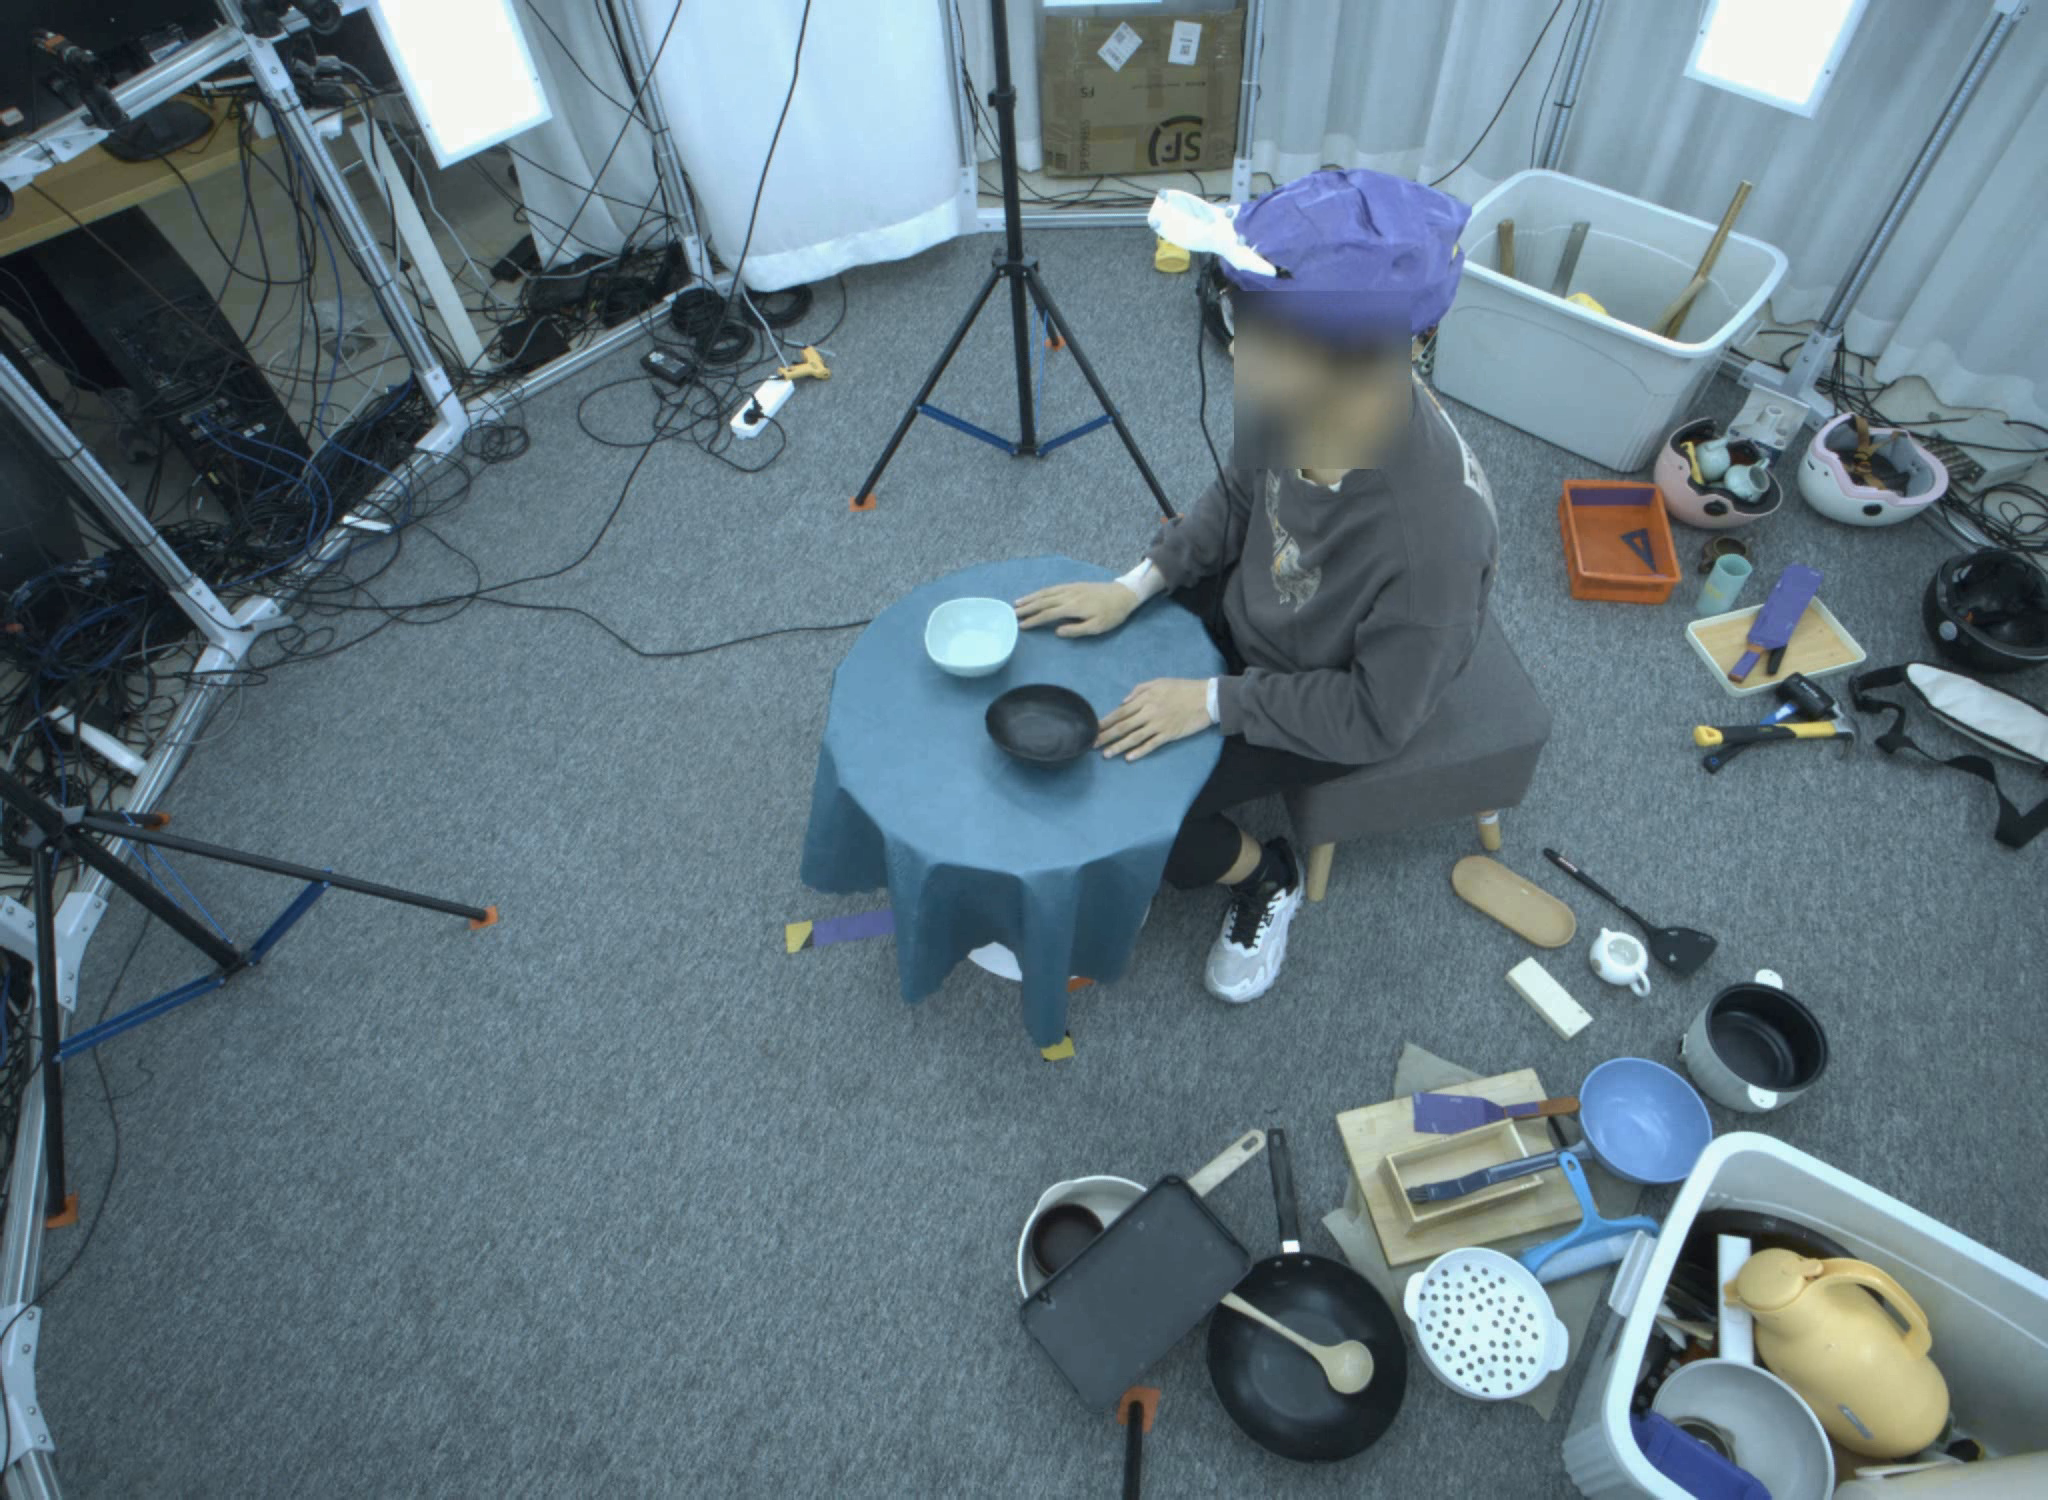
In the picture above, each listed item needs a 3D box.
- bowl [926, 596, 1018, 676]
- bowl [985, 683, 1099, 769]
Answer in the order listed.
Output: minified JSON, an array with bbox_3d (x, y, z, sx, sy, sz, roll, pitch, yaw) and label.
[{"bbox_3d":[-0.076,-0.164,1.870,0.151,0.059,0.150,-1,56,3],"label":"bowl"},{"bbox_3d":[0.025,-0.024,1.762,0.168,0.067,0.137,17,57,16],"label":"bowl"}]
